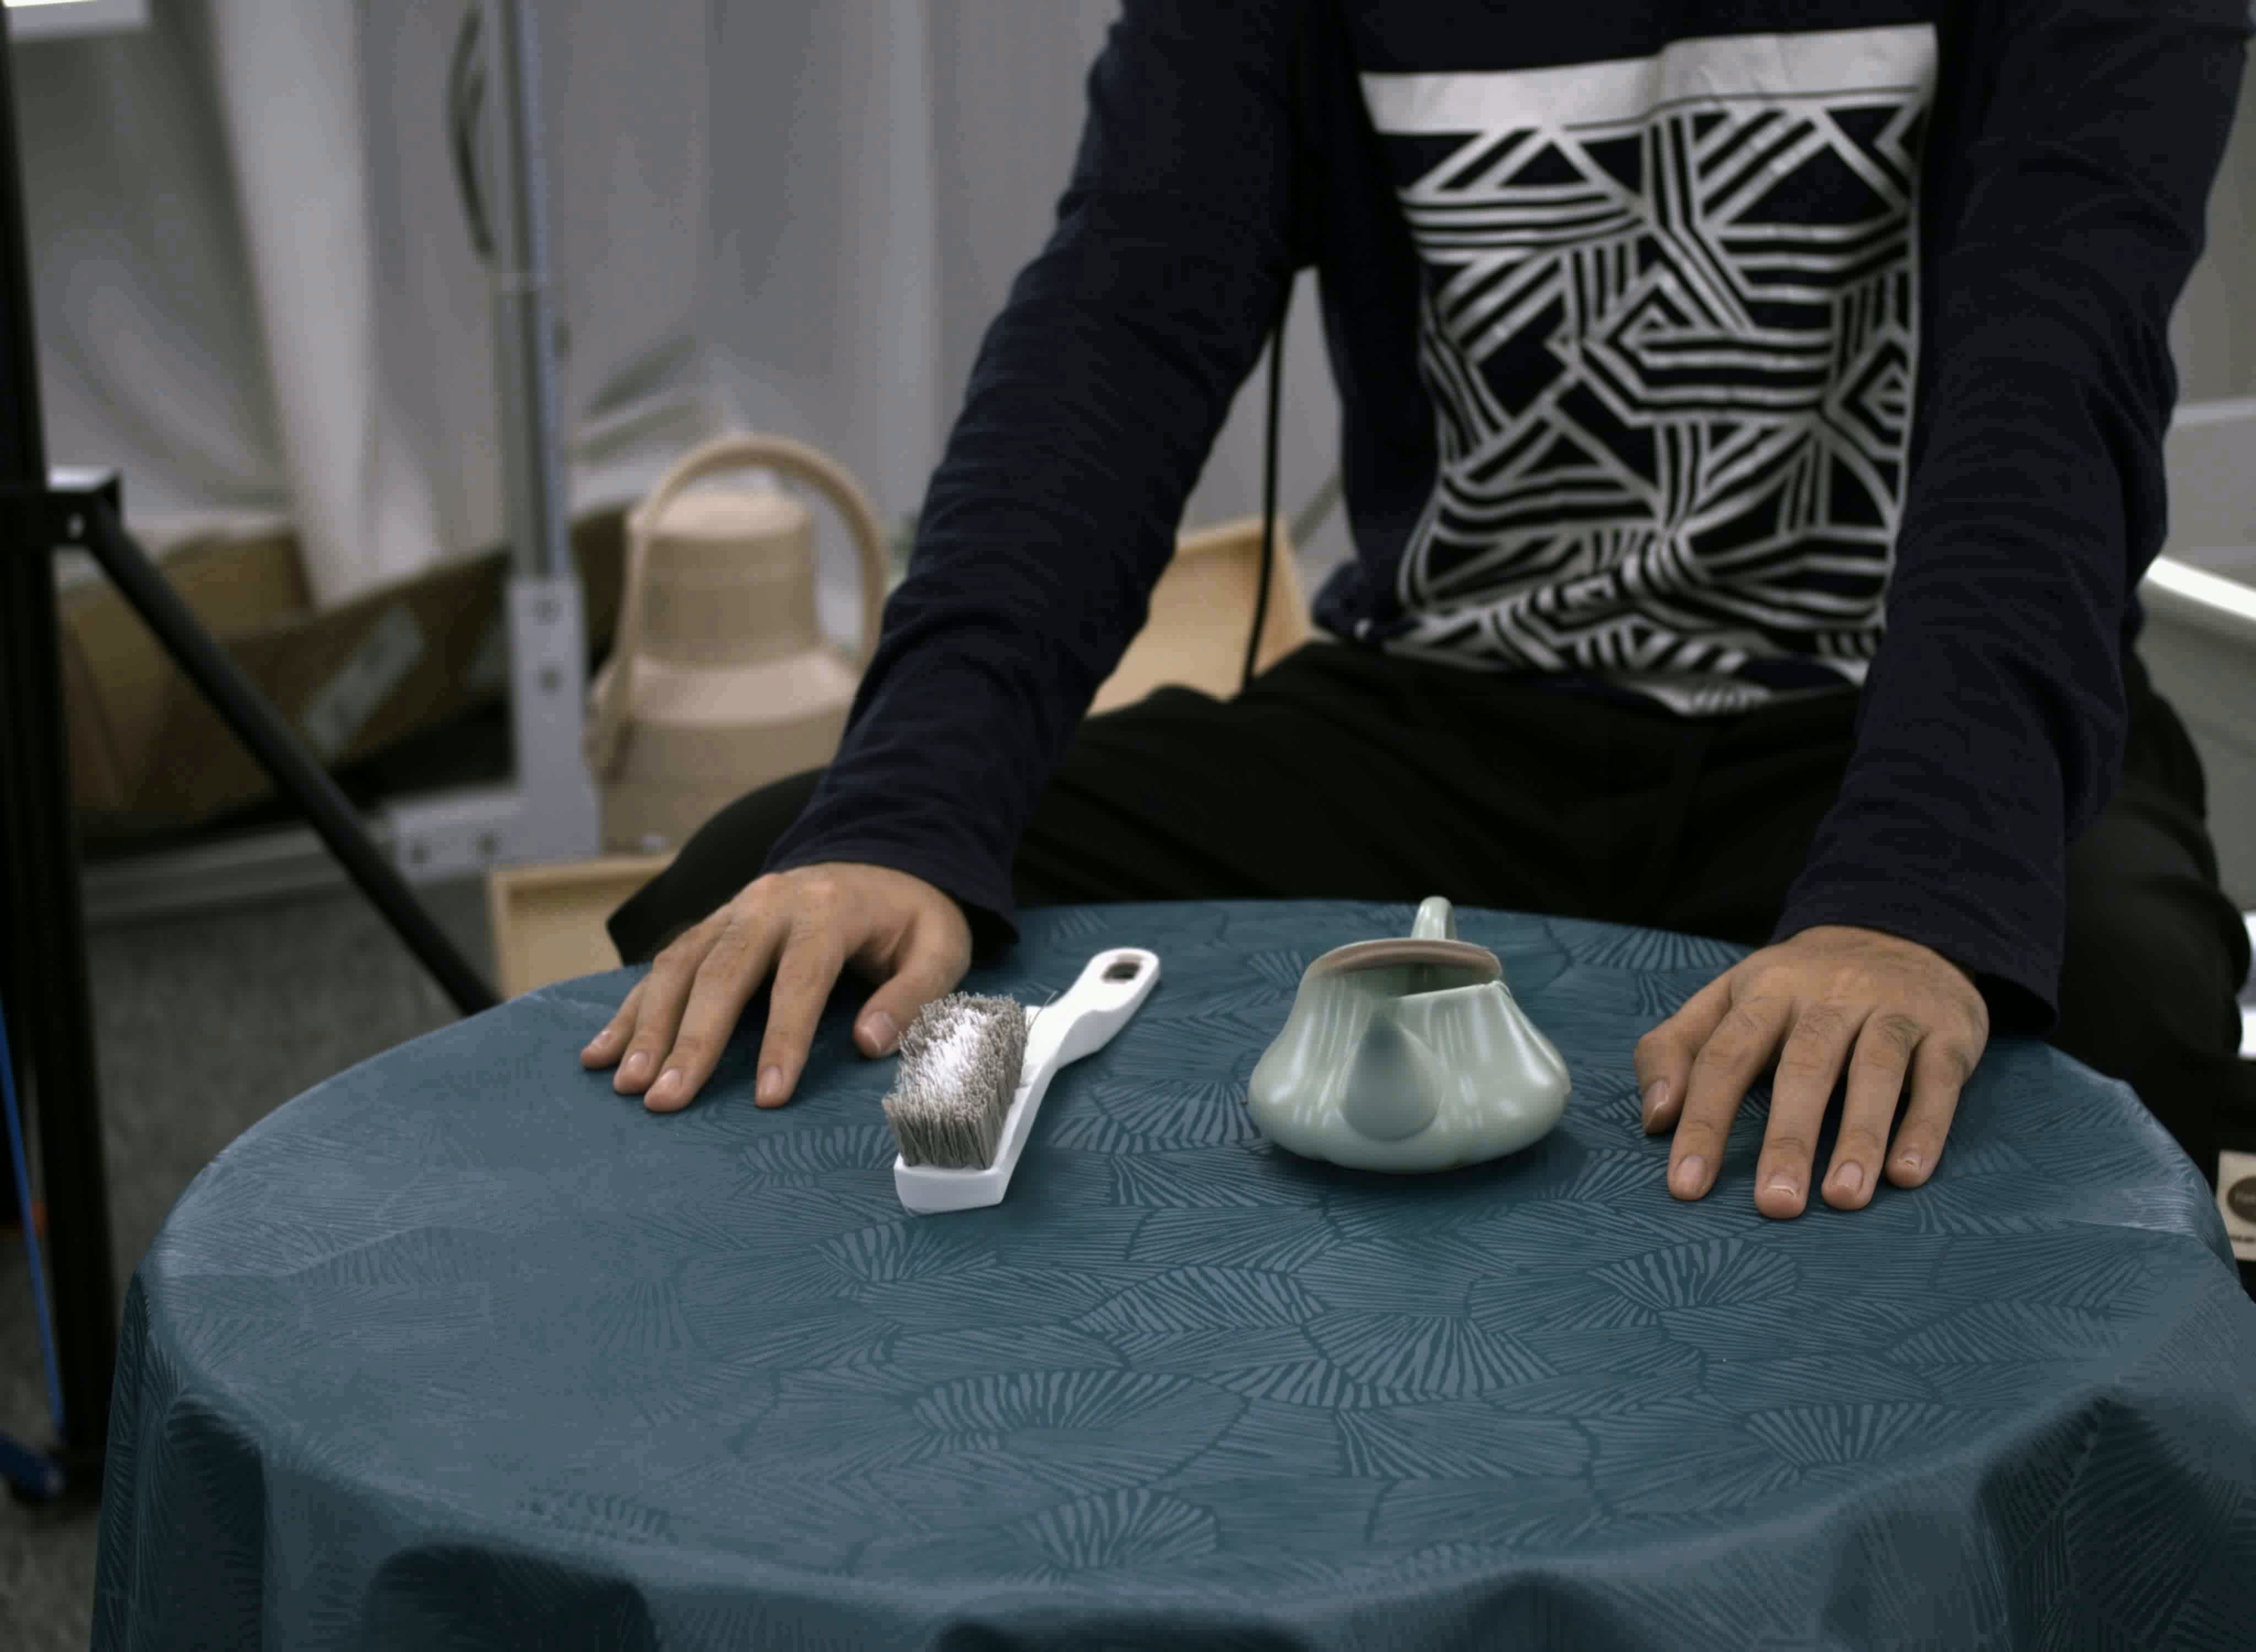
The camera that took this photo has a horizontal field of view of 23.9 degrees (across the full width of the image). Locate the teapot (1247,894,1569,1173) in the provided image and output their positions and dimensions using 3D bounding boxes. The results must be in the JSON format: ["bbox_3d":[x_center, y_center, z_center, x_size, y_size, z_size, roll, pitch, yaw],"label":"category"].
[{"bbox_3d":[0.084,0.065,1.587,0.096,0.061,0.136,-2,16,10],"label":"teapot"}]

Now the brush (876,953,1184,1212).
[{"bbox_3d":[-0.026,0.060,1.650,0.035,0.050,0.241,-2,15,18],"label":"brush"}]
